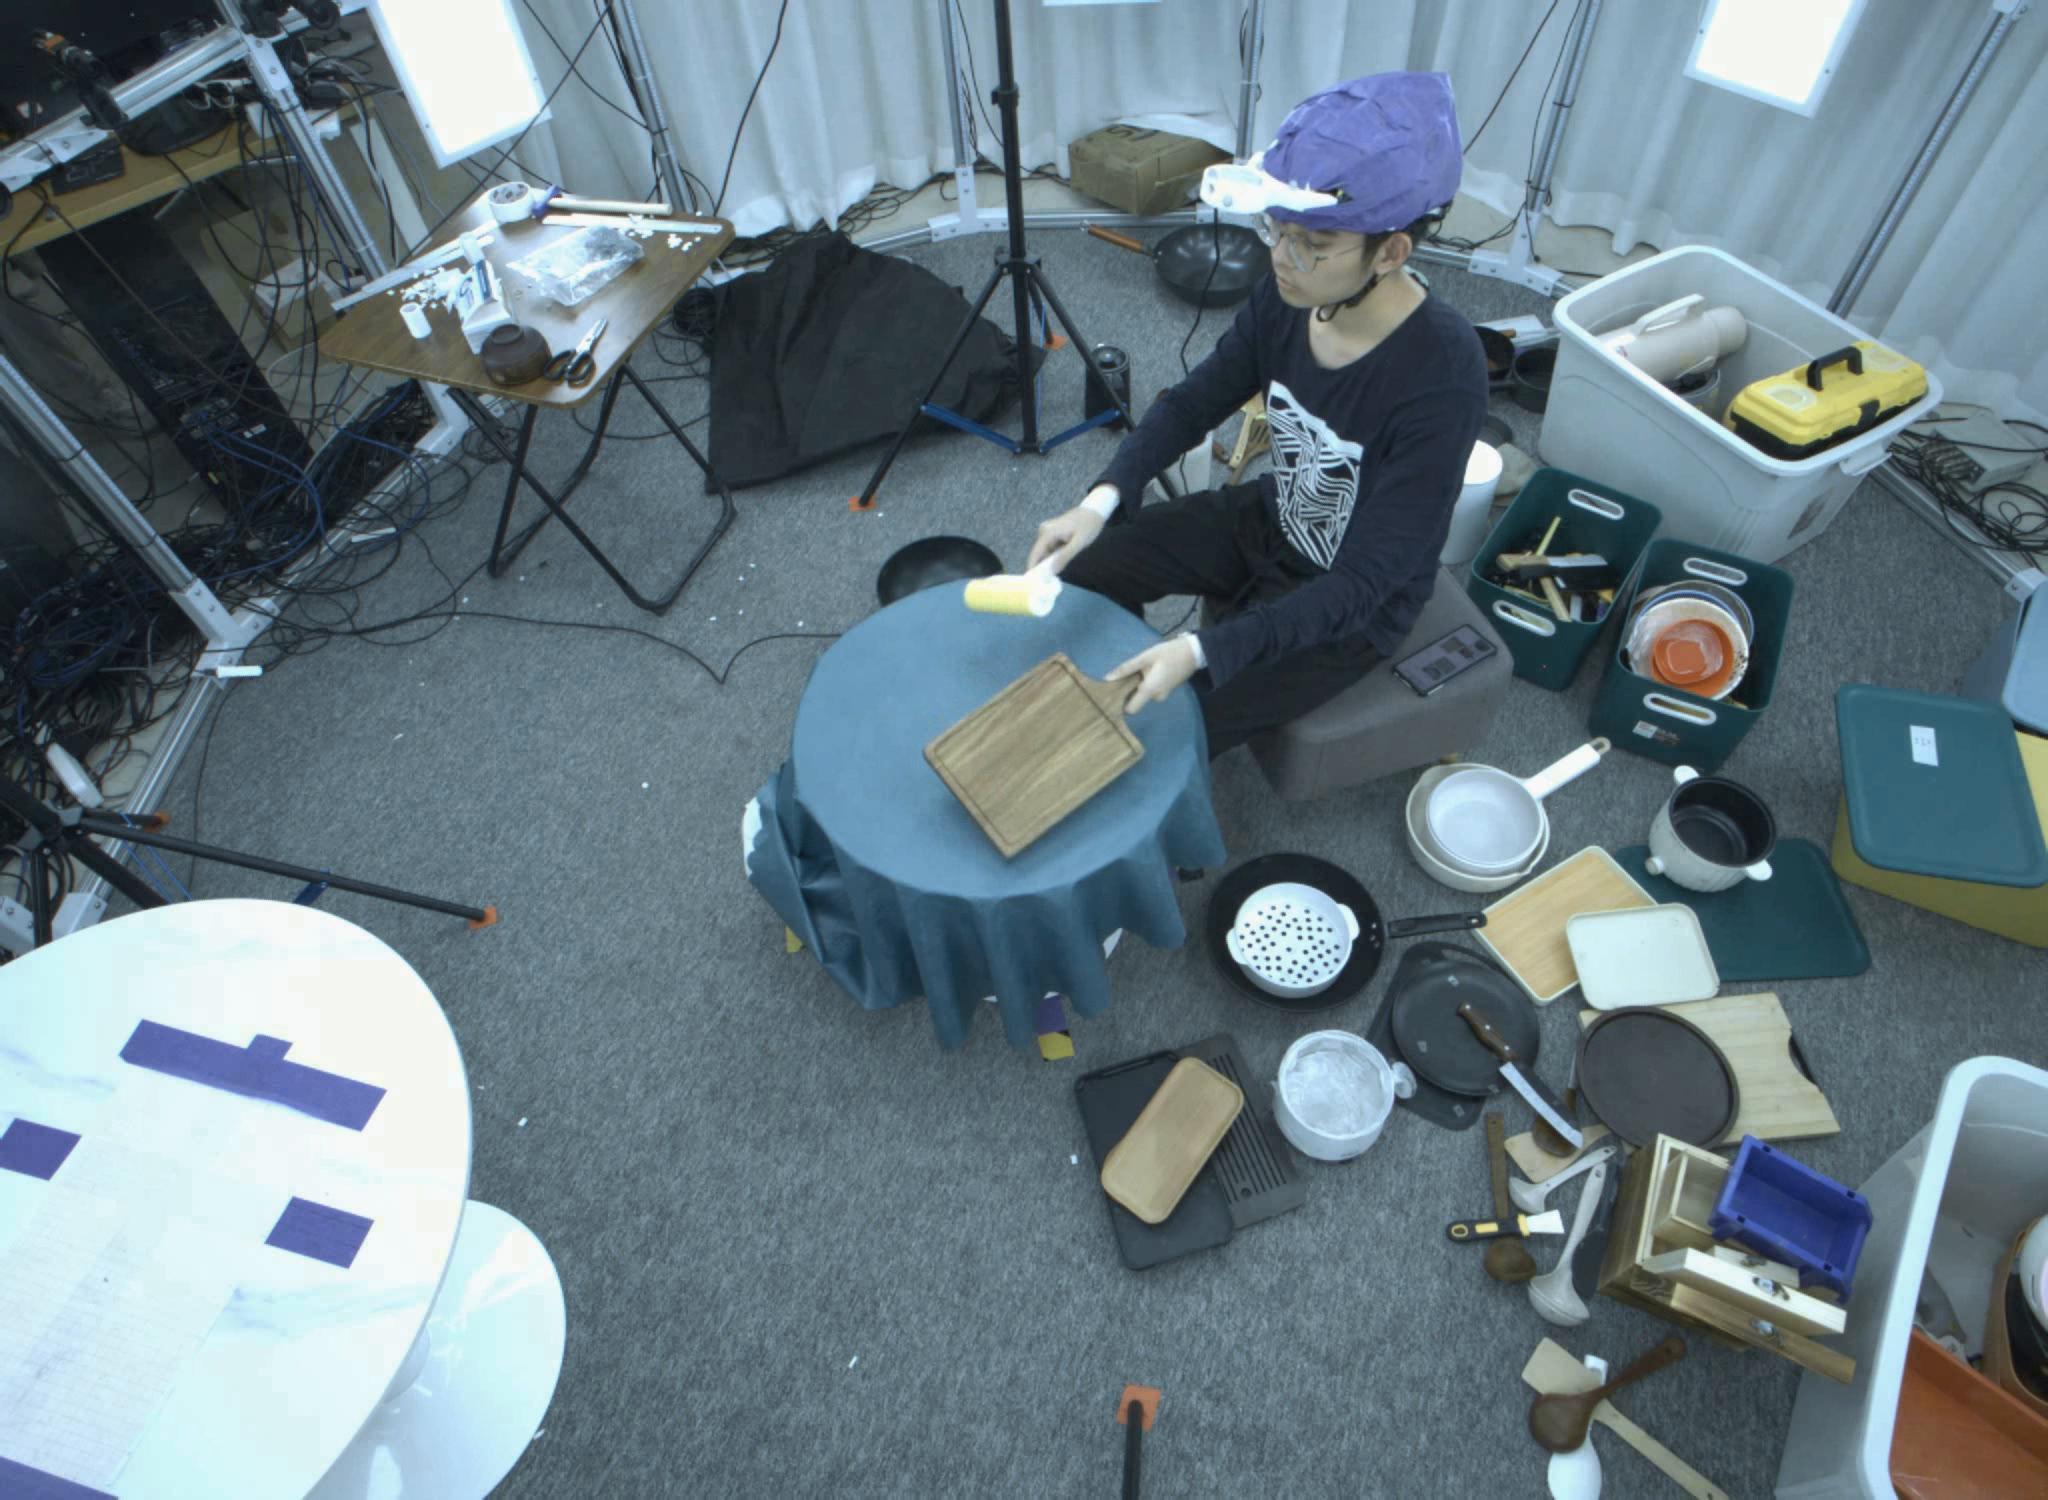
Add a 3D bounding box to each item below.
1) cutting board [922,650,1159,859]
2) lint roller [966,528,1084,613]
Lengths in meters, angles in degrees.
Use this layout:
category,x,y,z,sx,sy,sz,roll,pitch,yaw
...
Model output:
category,x,y,z,sx,sy,sz,roll,pitch,yaw
cutting board,0.053,-0.026,1.719,0.354,0.023,0.200,-37,81,-16
lint roller,0.022,-0.278,1.825,0.170,0.052,0.192,9,56,50
